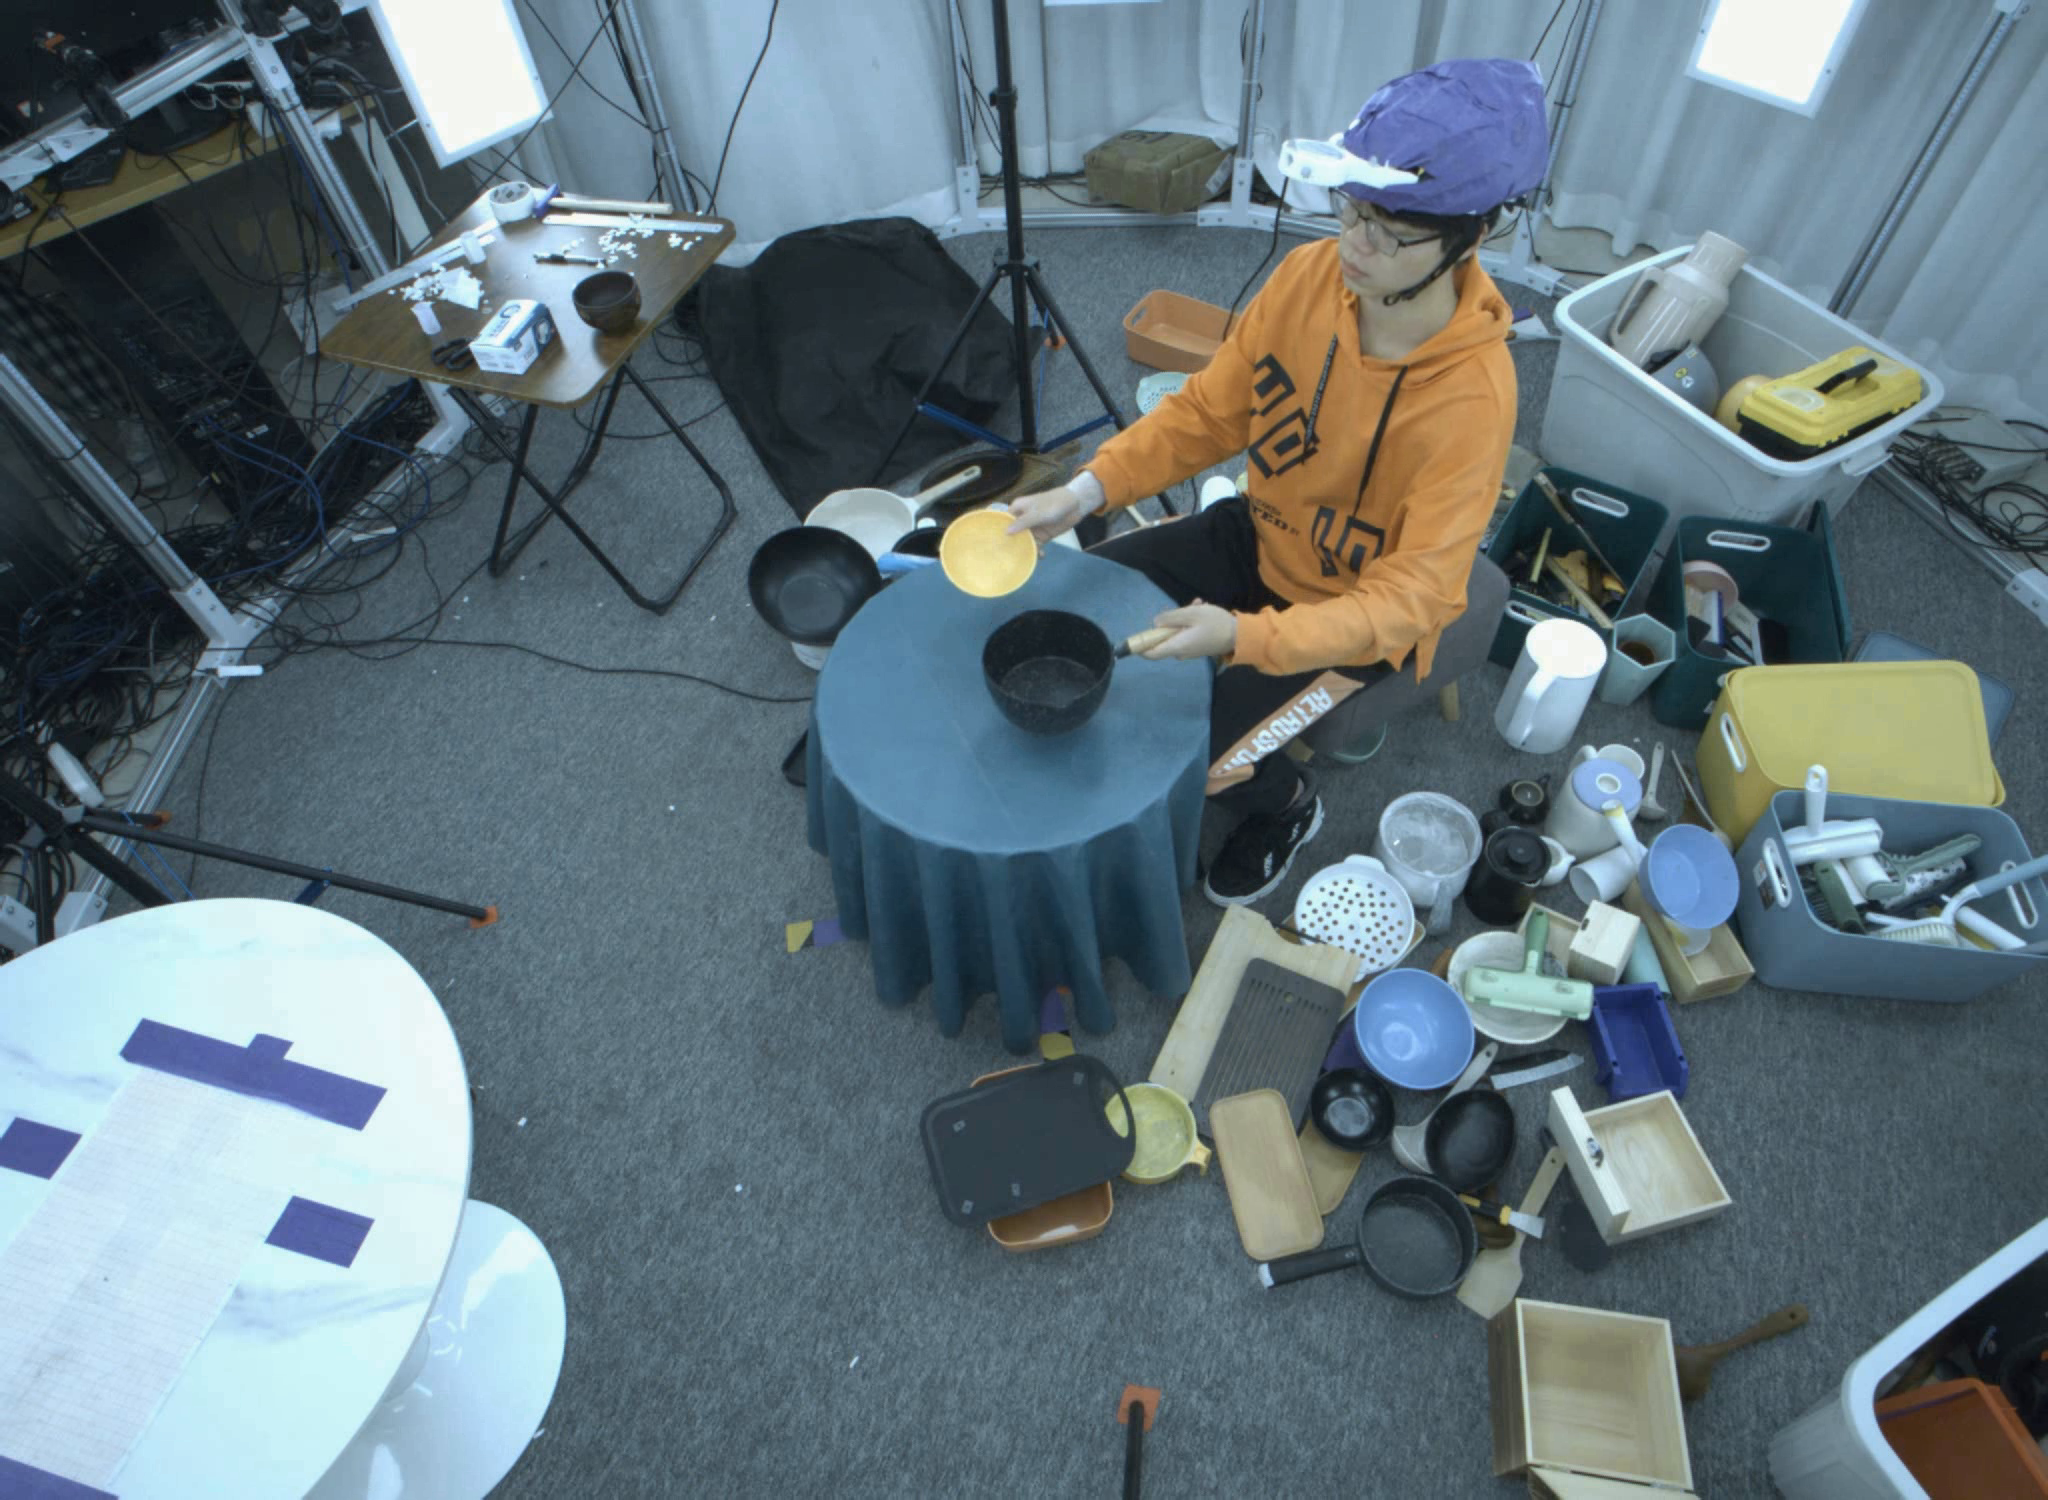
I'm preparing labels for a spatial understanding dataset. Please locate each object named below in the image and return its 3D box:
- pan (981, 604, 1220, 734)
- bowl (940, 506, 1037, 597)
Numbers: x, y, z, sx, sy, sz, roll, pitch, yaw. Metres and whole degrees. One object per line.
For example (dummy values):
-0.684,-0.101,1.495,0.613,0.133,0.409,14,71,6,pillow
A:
0.111,-0.130,1.747,0.344,0.109,0.204,-13,50,-7,pan
-0.055,-0.287,1.832,0.146,0.060,0.144,2,75,-7,bowl
